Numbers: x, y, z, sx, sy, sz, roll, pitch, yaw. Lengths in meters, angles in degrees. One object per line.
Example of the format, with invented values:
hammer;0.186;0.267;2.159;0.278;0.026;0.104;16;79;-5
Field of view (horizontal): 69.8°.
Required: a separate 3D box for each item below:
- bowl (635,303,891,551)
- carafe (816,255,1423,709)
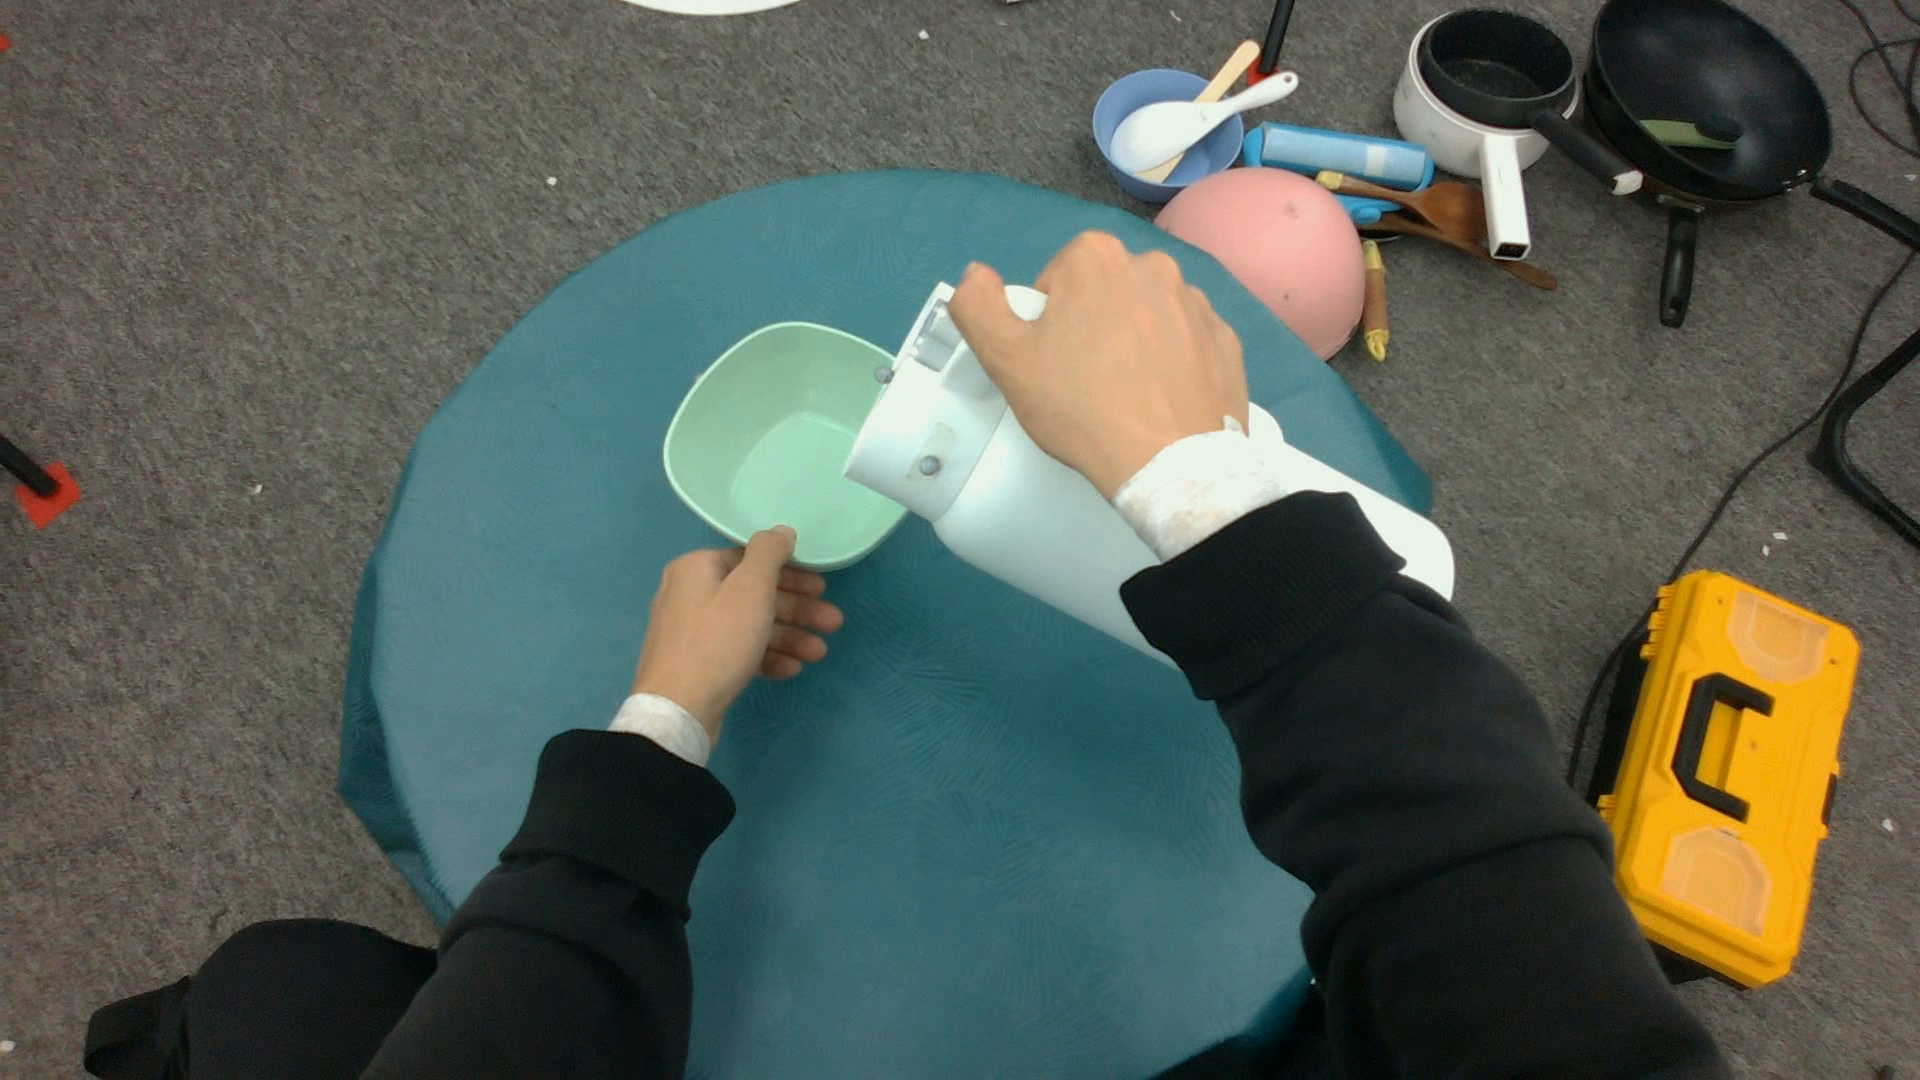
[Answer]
bowl;-0.097;-0.053;0.751;0.151;0.058;0.152;1;63;-3
carafe;0.079;-0.033;0.625;0.269;0.172;0.124;29;66;-10
